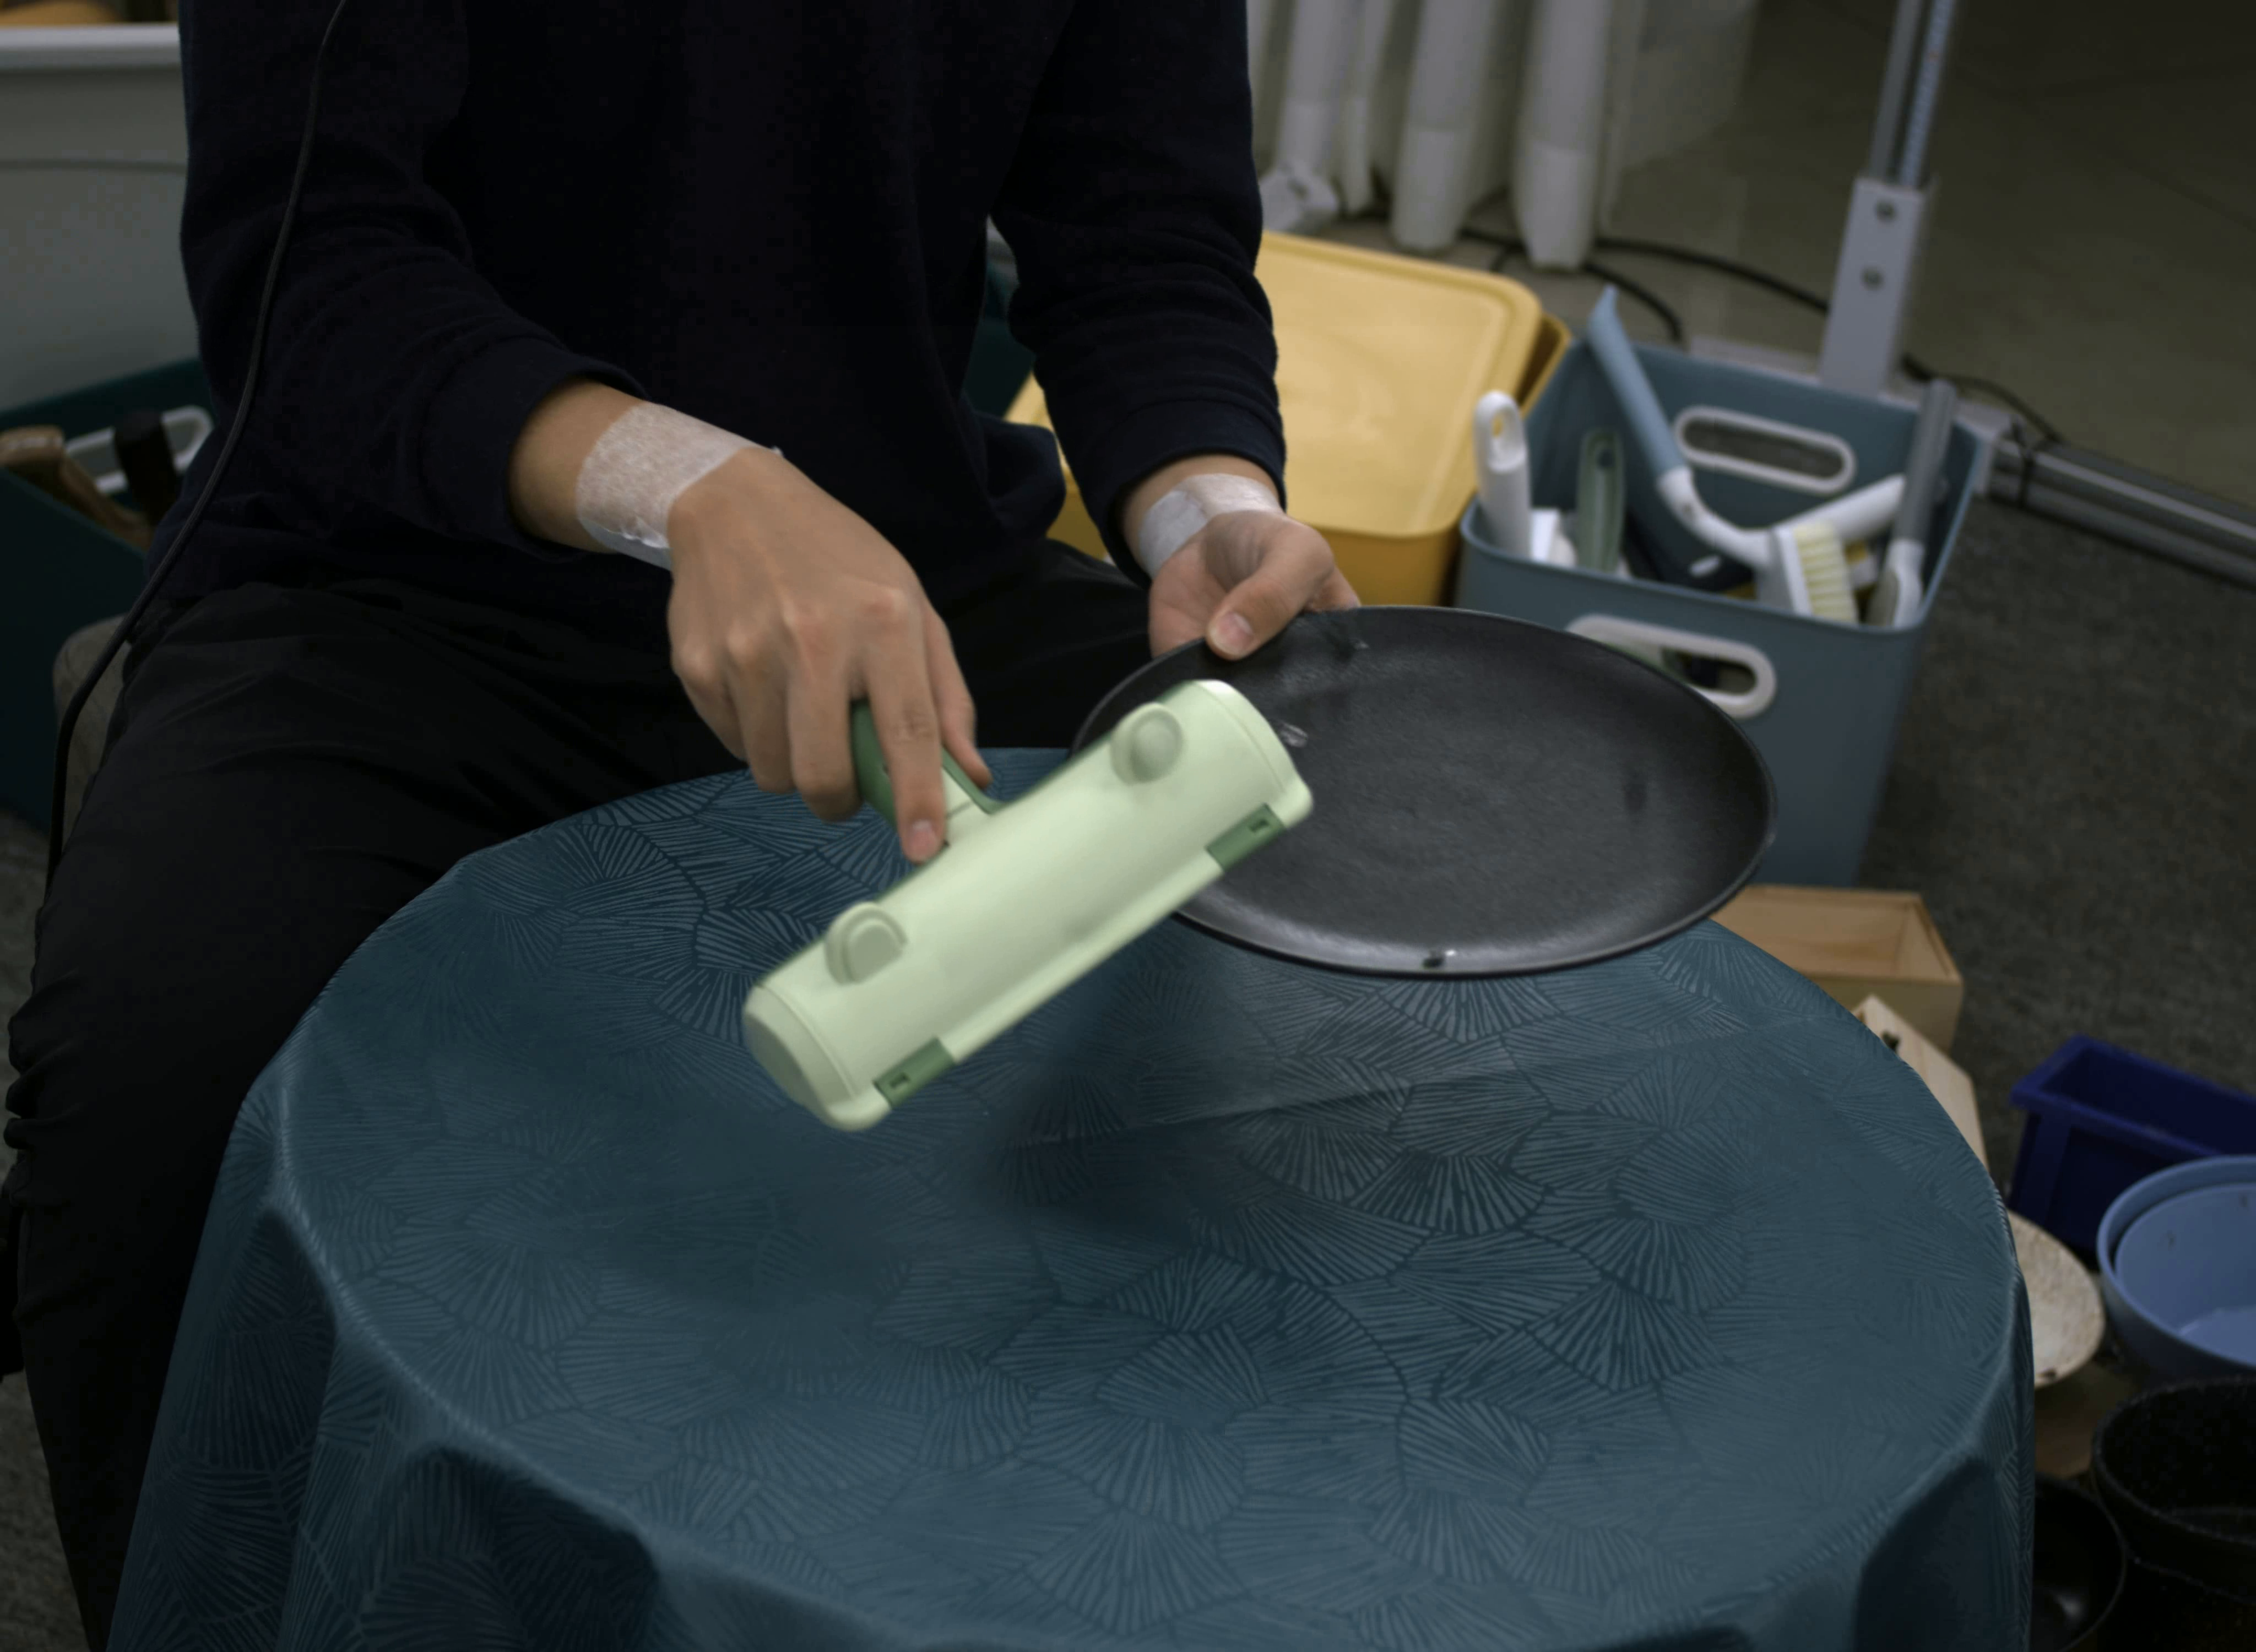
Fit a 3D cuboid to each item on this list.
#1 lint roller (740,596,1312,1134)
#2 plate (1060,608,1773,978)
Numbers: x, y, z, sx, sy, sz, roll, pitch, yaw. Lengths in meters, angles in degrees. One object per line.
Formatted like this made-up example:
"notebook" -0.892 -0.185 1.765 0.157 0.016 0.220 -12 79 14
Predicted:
"lint roller" -0.068 -0.020 1.734 0.198 0.082 0.184 -35 72 -16
"plate" 0.098 -0.008 1.820 0.243 0.023 0.246 1 31 -1
